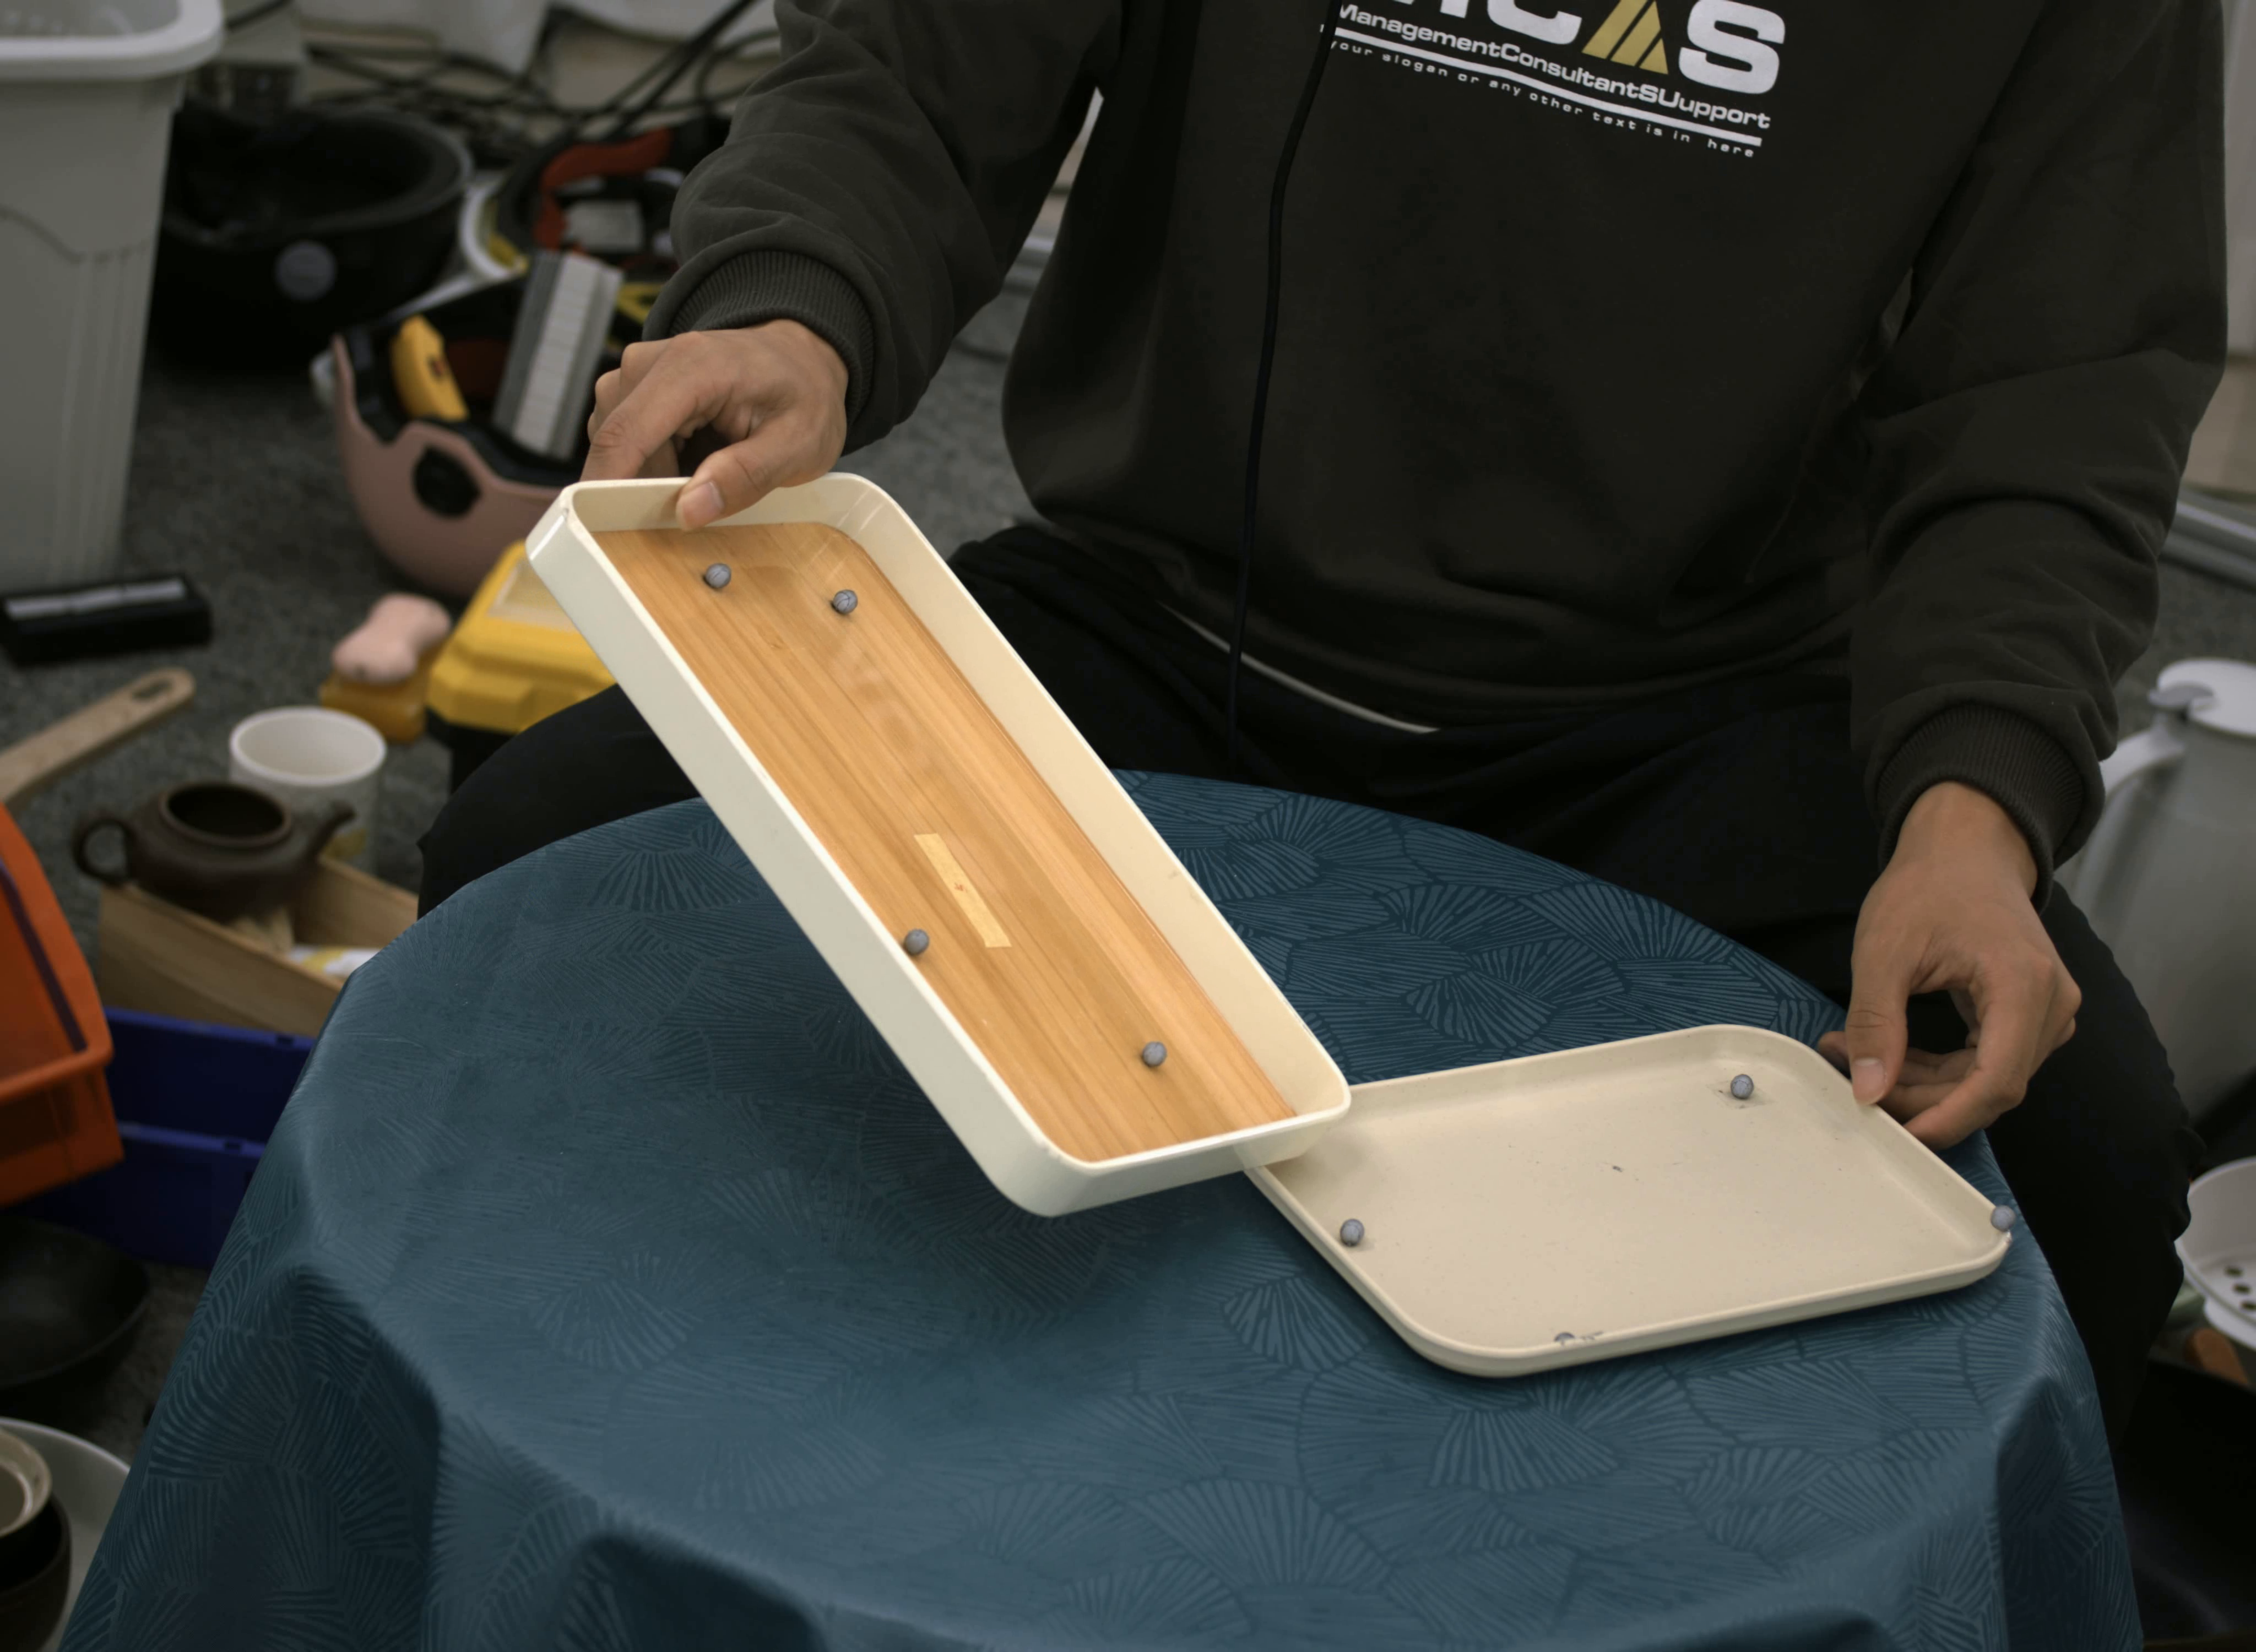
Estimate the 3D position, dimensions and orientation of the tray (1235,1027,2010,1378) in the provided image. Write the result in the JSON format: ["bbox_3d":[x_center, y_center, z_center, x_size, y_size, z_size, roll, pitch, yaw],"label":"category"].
[{"bbox_3d":[0.168,0.128,1.819,0.238,0.017,0.173,-8,30,-27],"label":"tray"}]

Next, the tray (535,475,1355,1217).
[{"bbox_3d":[-0.061,0.000,1.799,0.302,0.027,0.190,52,28,19],"label":"tray"}]
